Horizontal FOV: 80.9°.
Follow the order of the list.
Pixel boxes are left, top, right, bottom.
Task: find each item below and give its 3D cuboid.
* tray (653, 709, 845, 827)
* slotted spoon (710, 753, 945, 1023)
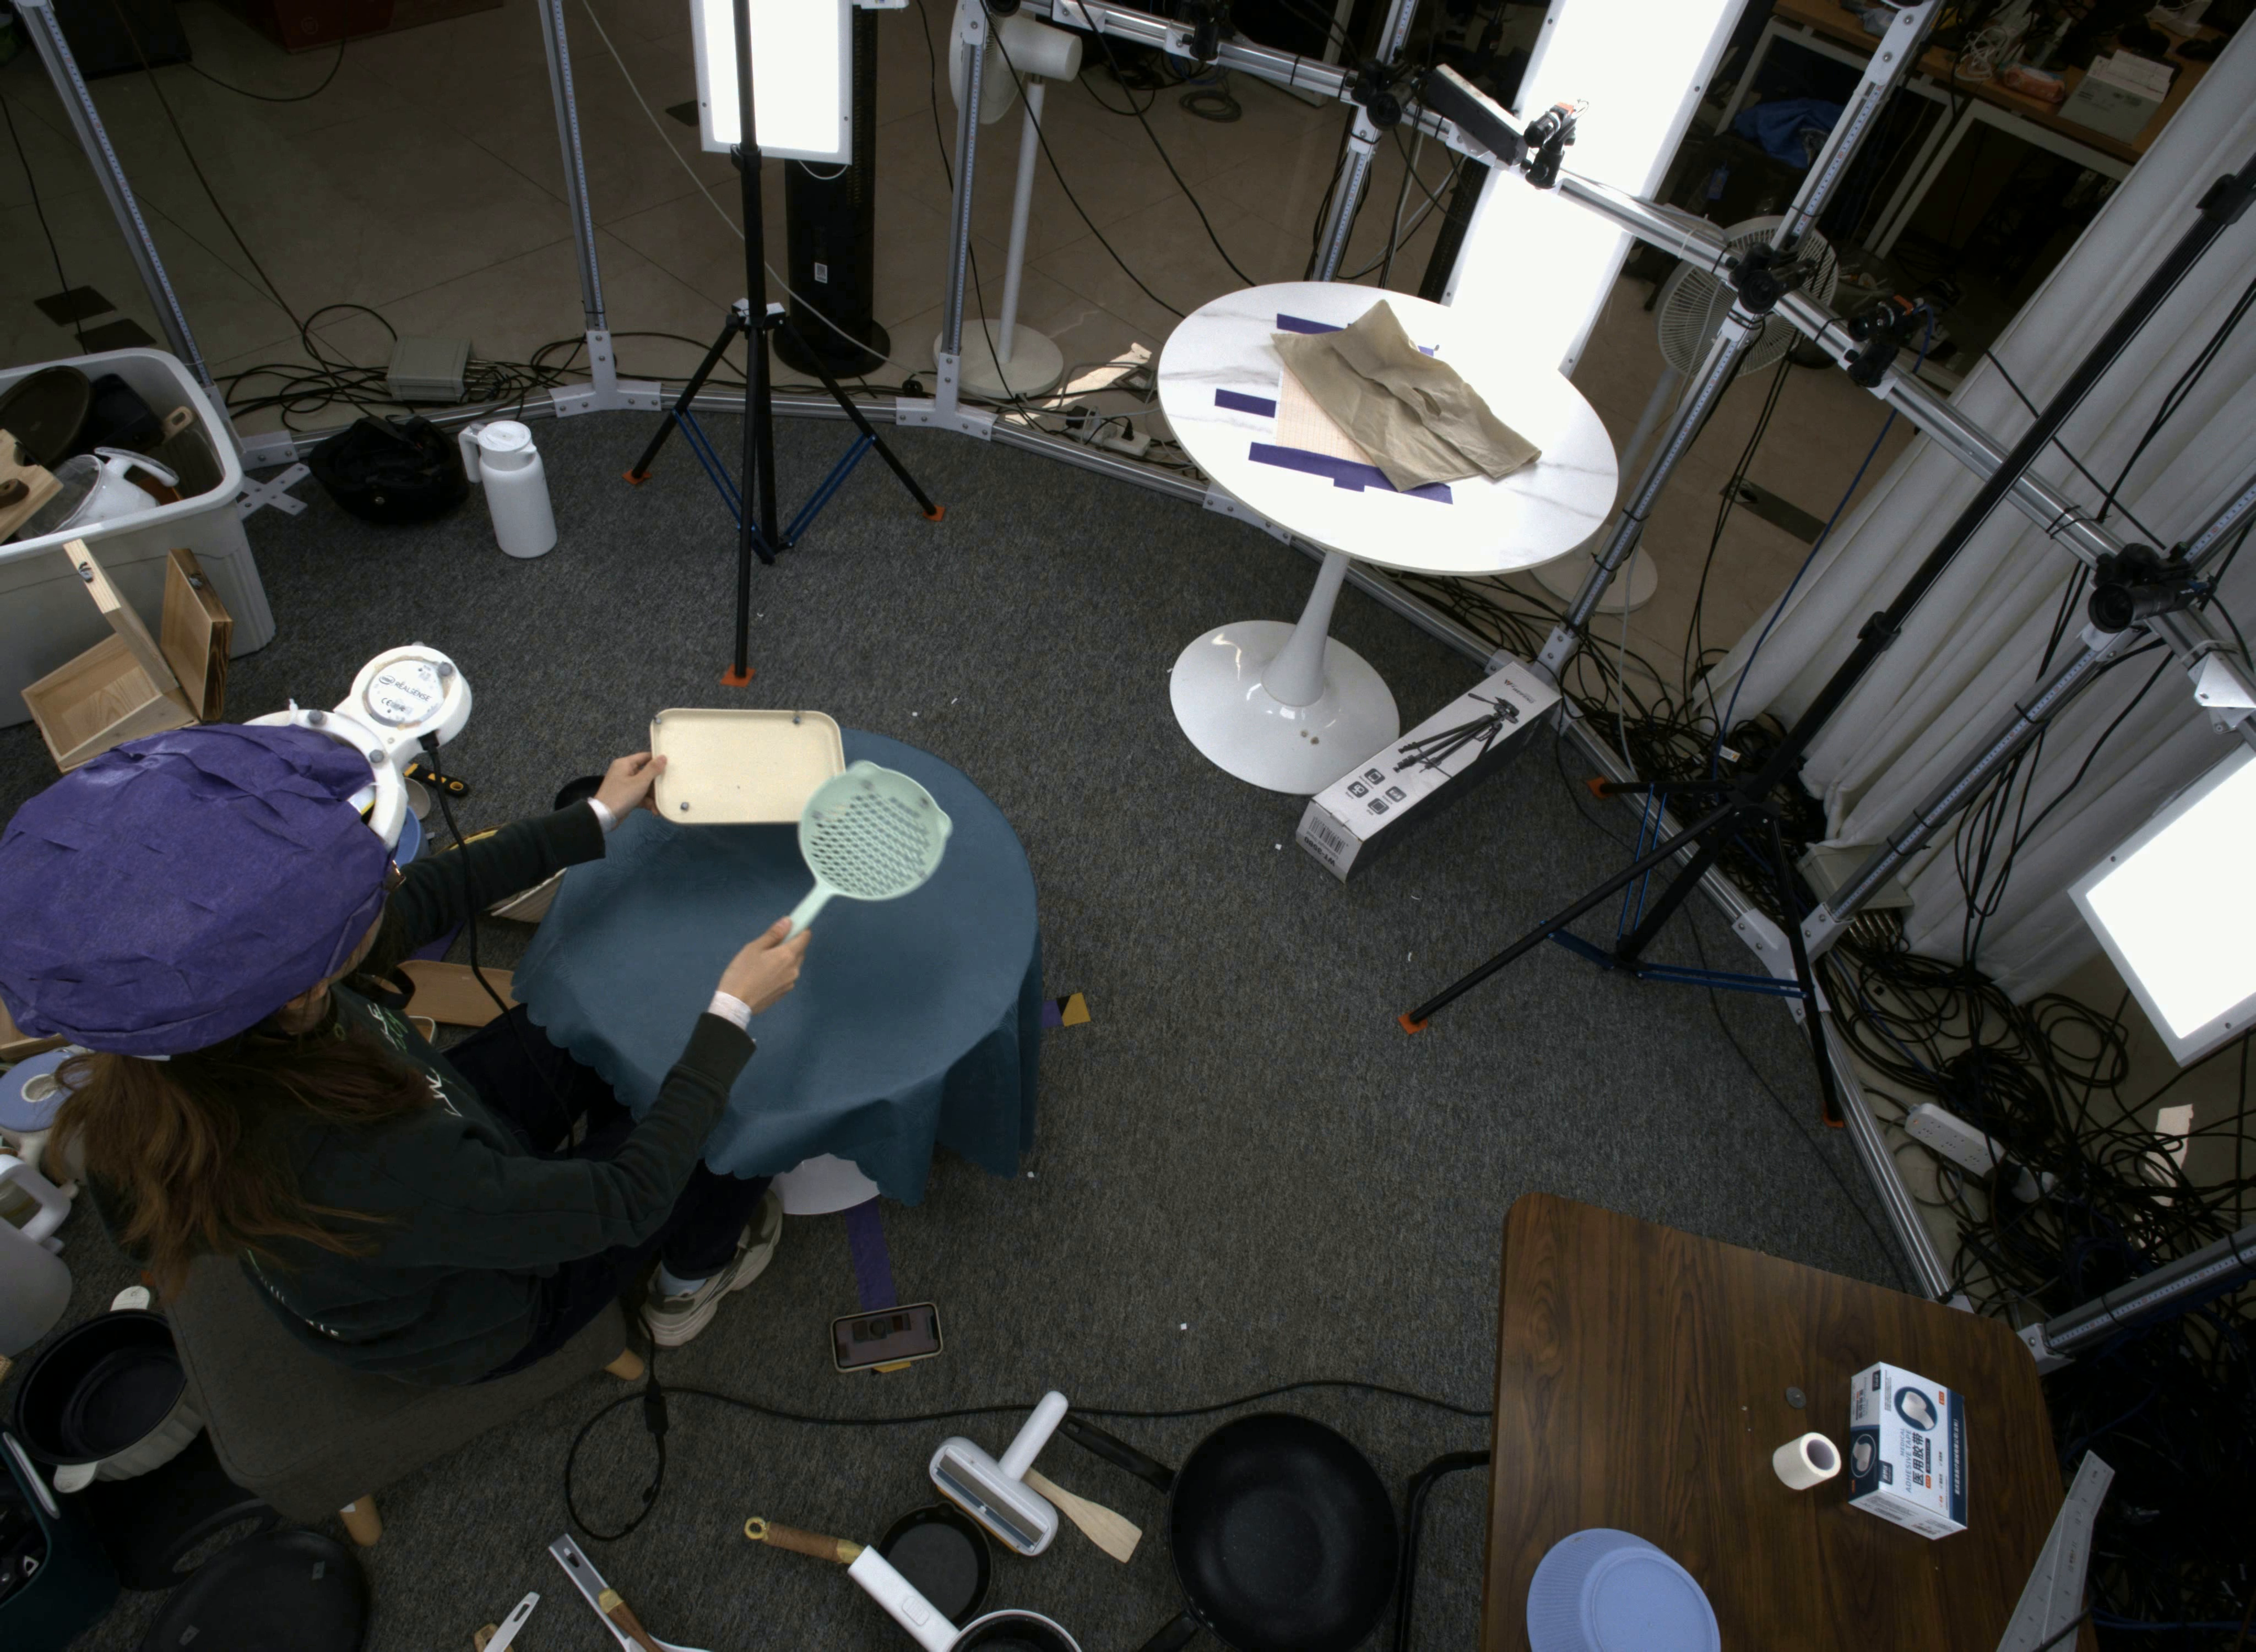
[{"bbox_3d":[-0.476,-0.075,1.636,0.242,0.017,0.168,-1,62,-26],"label":"tray"},{"bbox_3d":[-0.358,0.074,1.486,0.168,0.076,0.357,34,55,1],"label":"slotted spoon"}]
